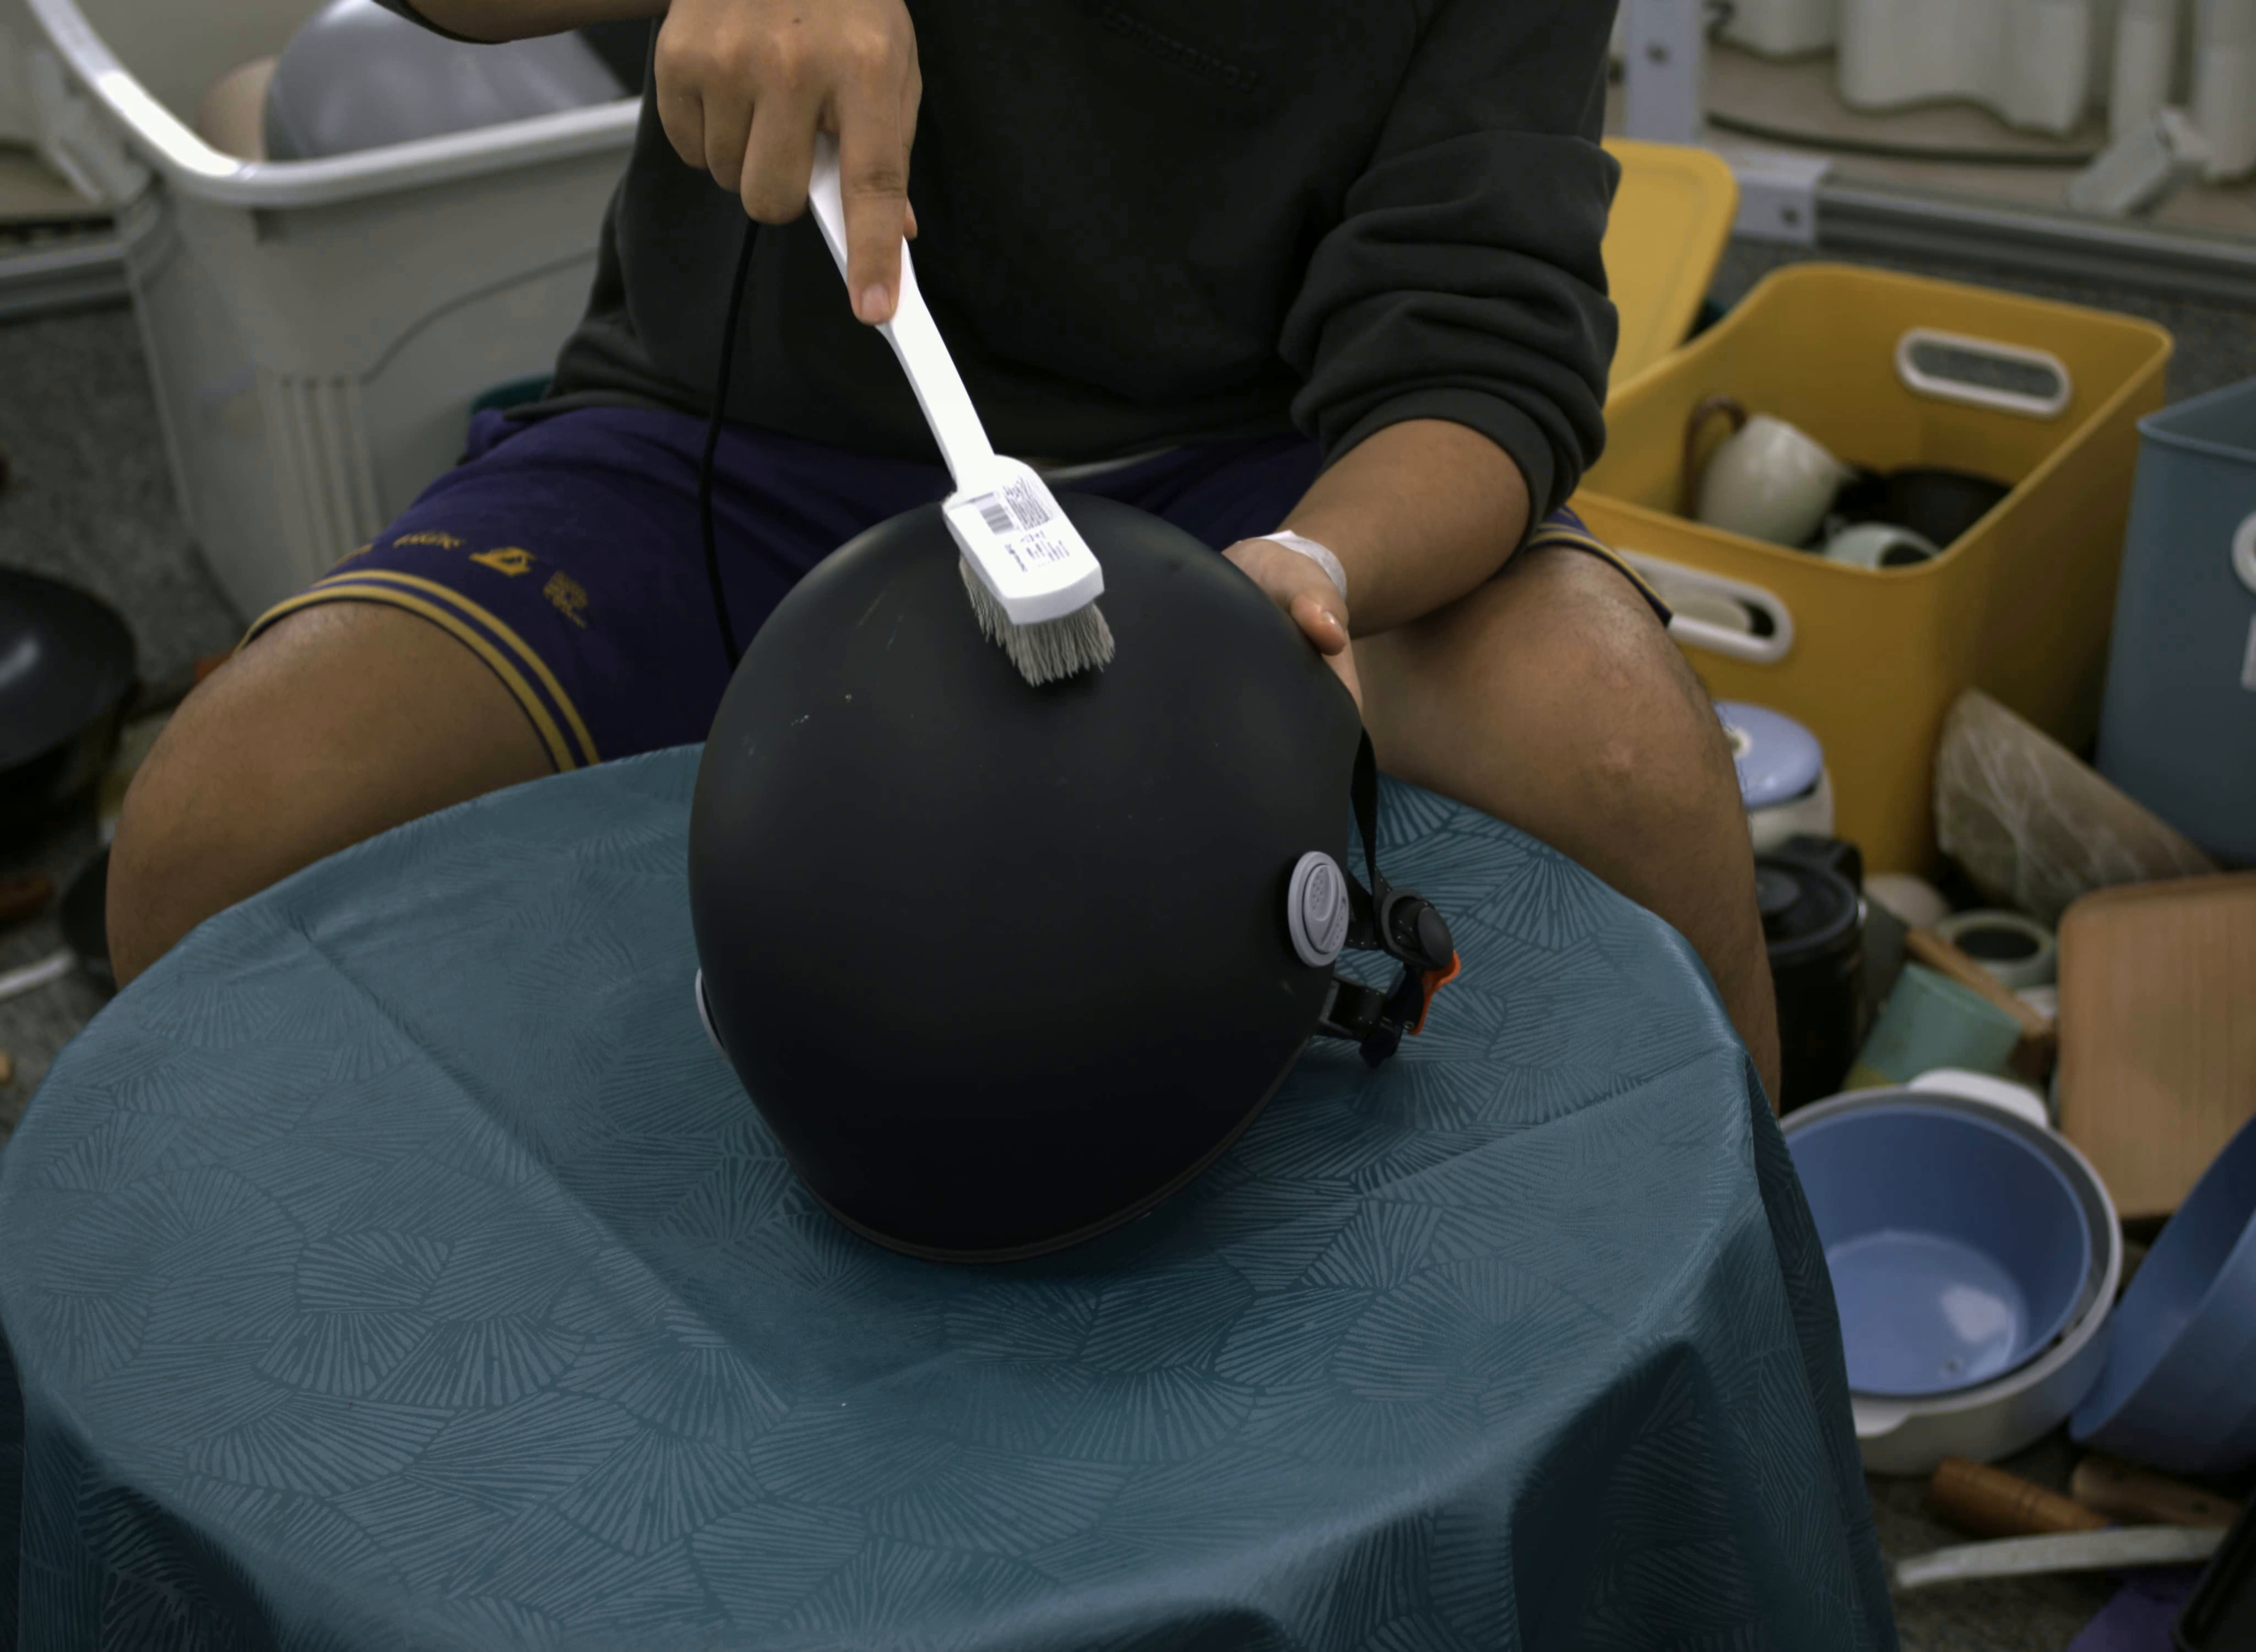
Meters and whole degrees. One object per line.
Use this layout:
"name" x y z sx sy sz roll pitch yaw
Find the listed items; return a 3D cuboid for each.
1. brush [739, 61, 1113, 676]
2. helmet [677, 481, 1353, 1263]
"brush" -0.068 -0.148 1.825 0.034 0.049 0.246 -22 60 -14
"helmet" -0.049 -0.007 1.857 0.227 0.165 0.279 -10 44 24
